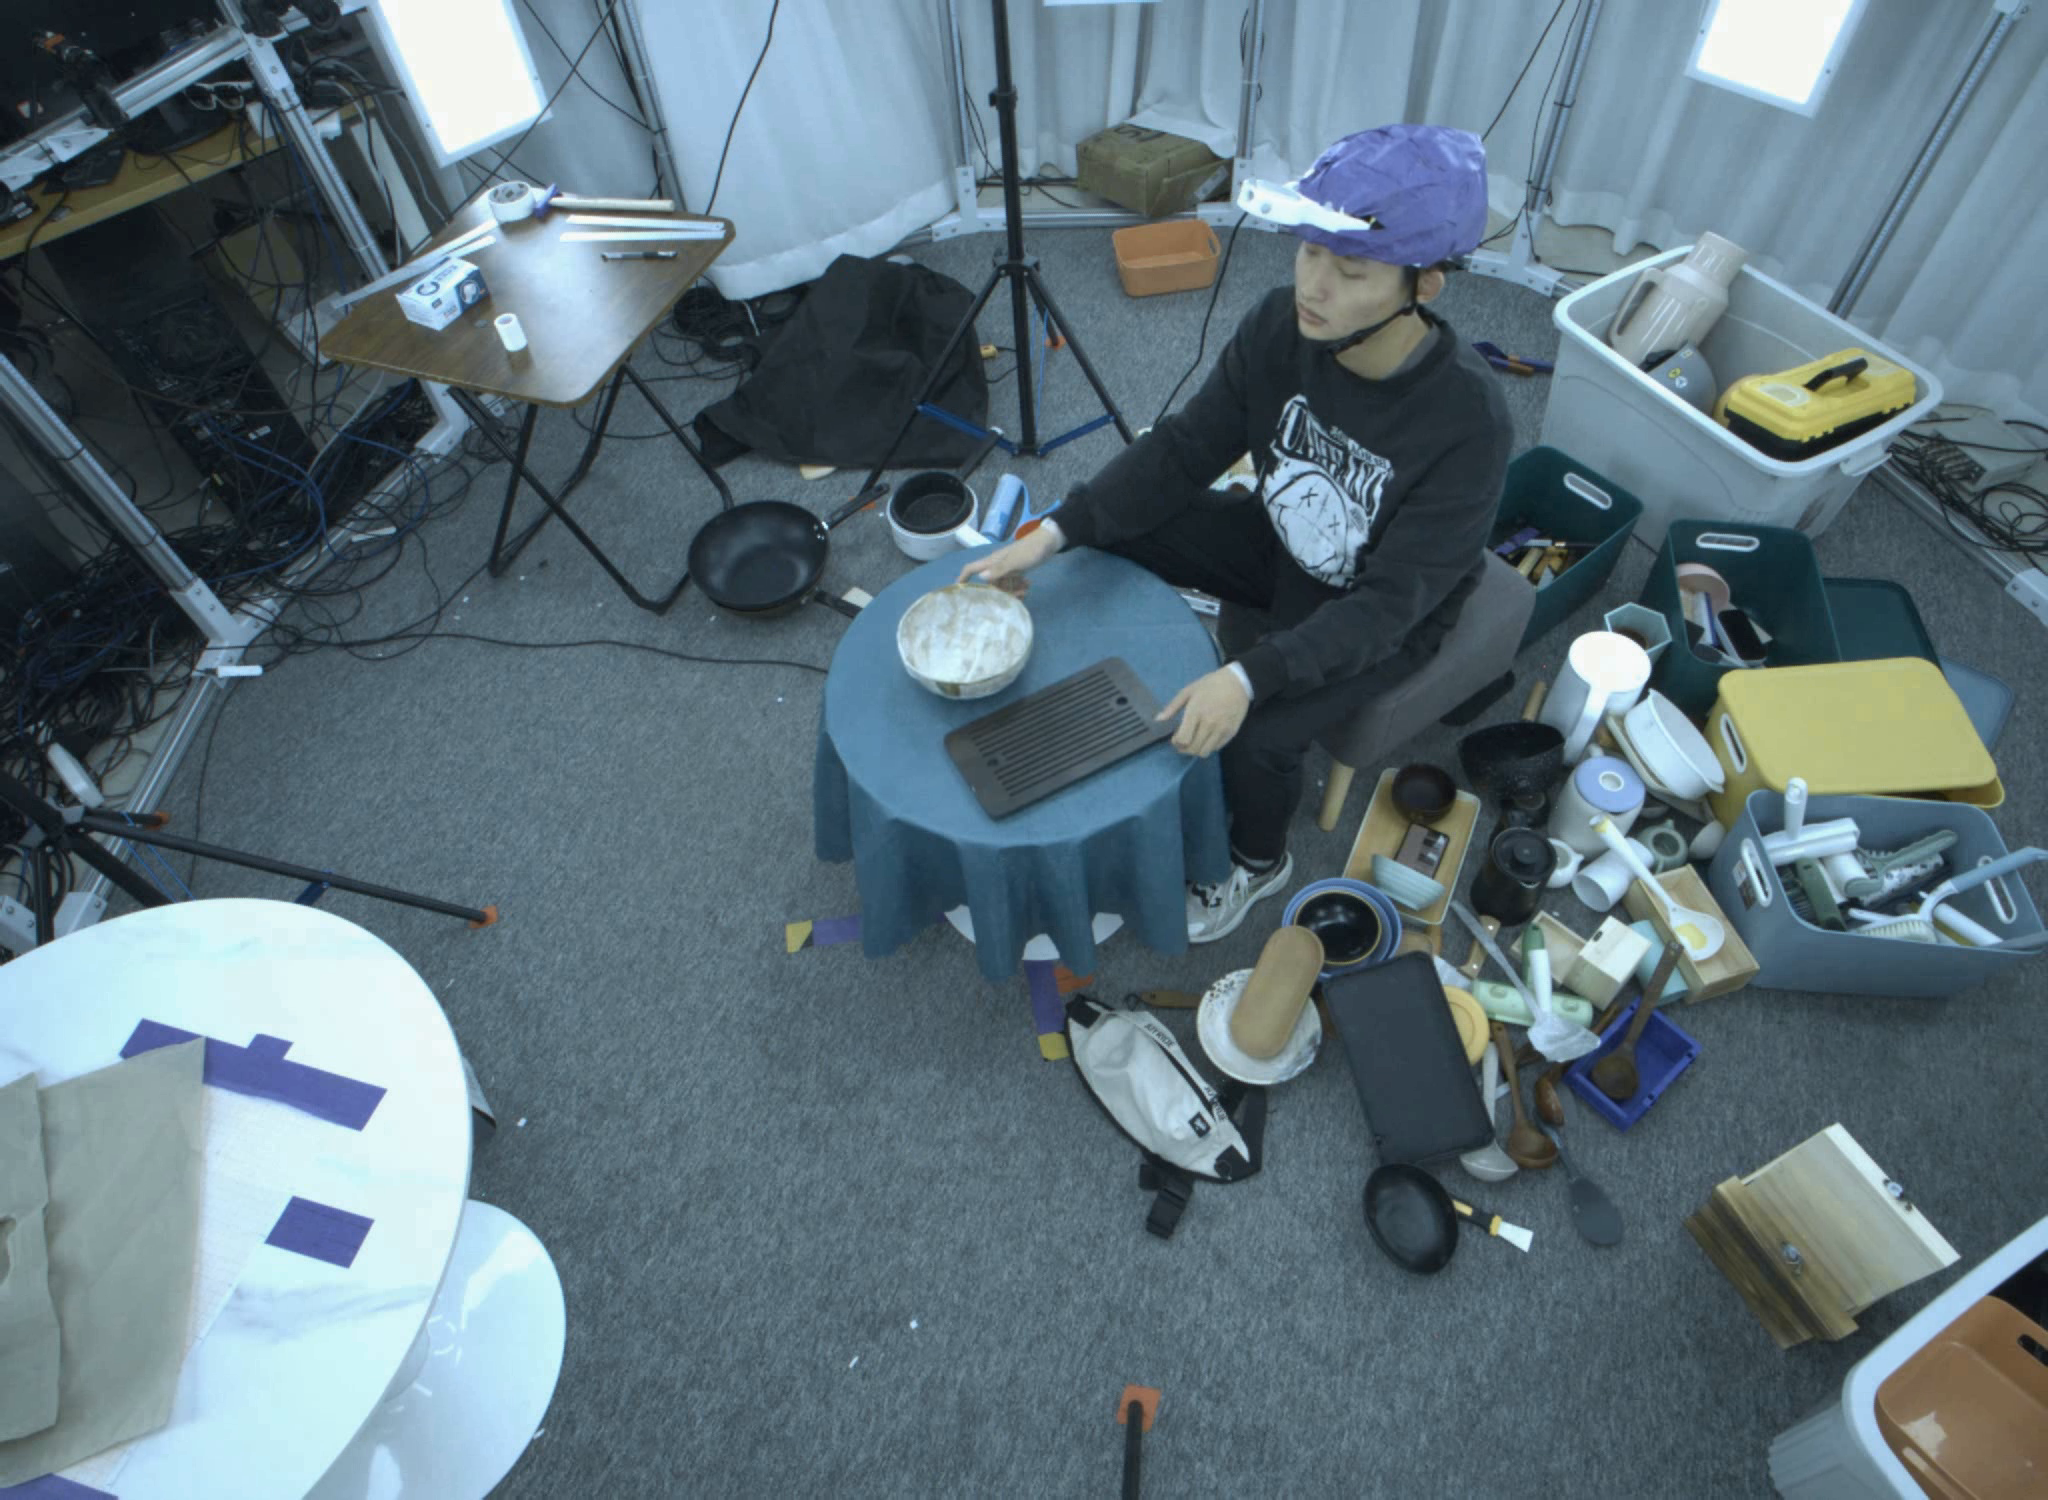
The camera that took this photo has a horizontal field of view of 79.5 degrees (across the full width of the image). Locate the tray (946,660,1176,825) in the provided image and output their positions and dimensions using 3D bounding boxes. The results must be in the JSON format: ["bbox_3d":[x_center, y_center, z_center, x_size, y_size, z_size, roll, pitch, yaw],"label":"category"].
[{"bbox_3d":[0.054,-0.014,1.795,0.308,0.019,0.167,-26,58,-16],"label":"tray"}]

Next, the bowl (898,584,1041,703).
[{"bbox_3d":[-0.077,-0.143,1.844,0.214,0.095,0.212,-1,54,2],"label":"bowl"}]
